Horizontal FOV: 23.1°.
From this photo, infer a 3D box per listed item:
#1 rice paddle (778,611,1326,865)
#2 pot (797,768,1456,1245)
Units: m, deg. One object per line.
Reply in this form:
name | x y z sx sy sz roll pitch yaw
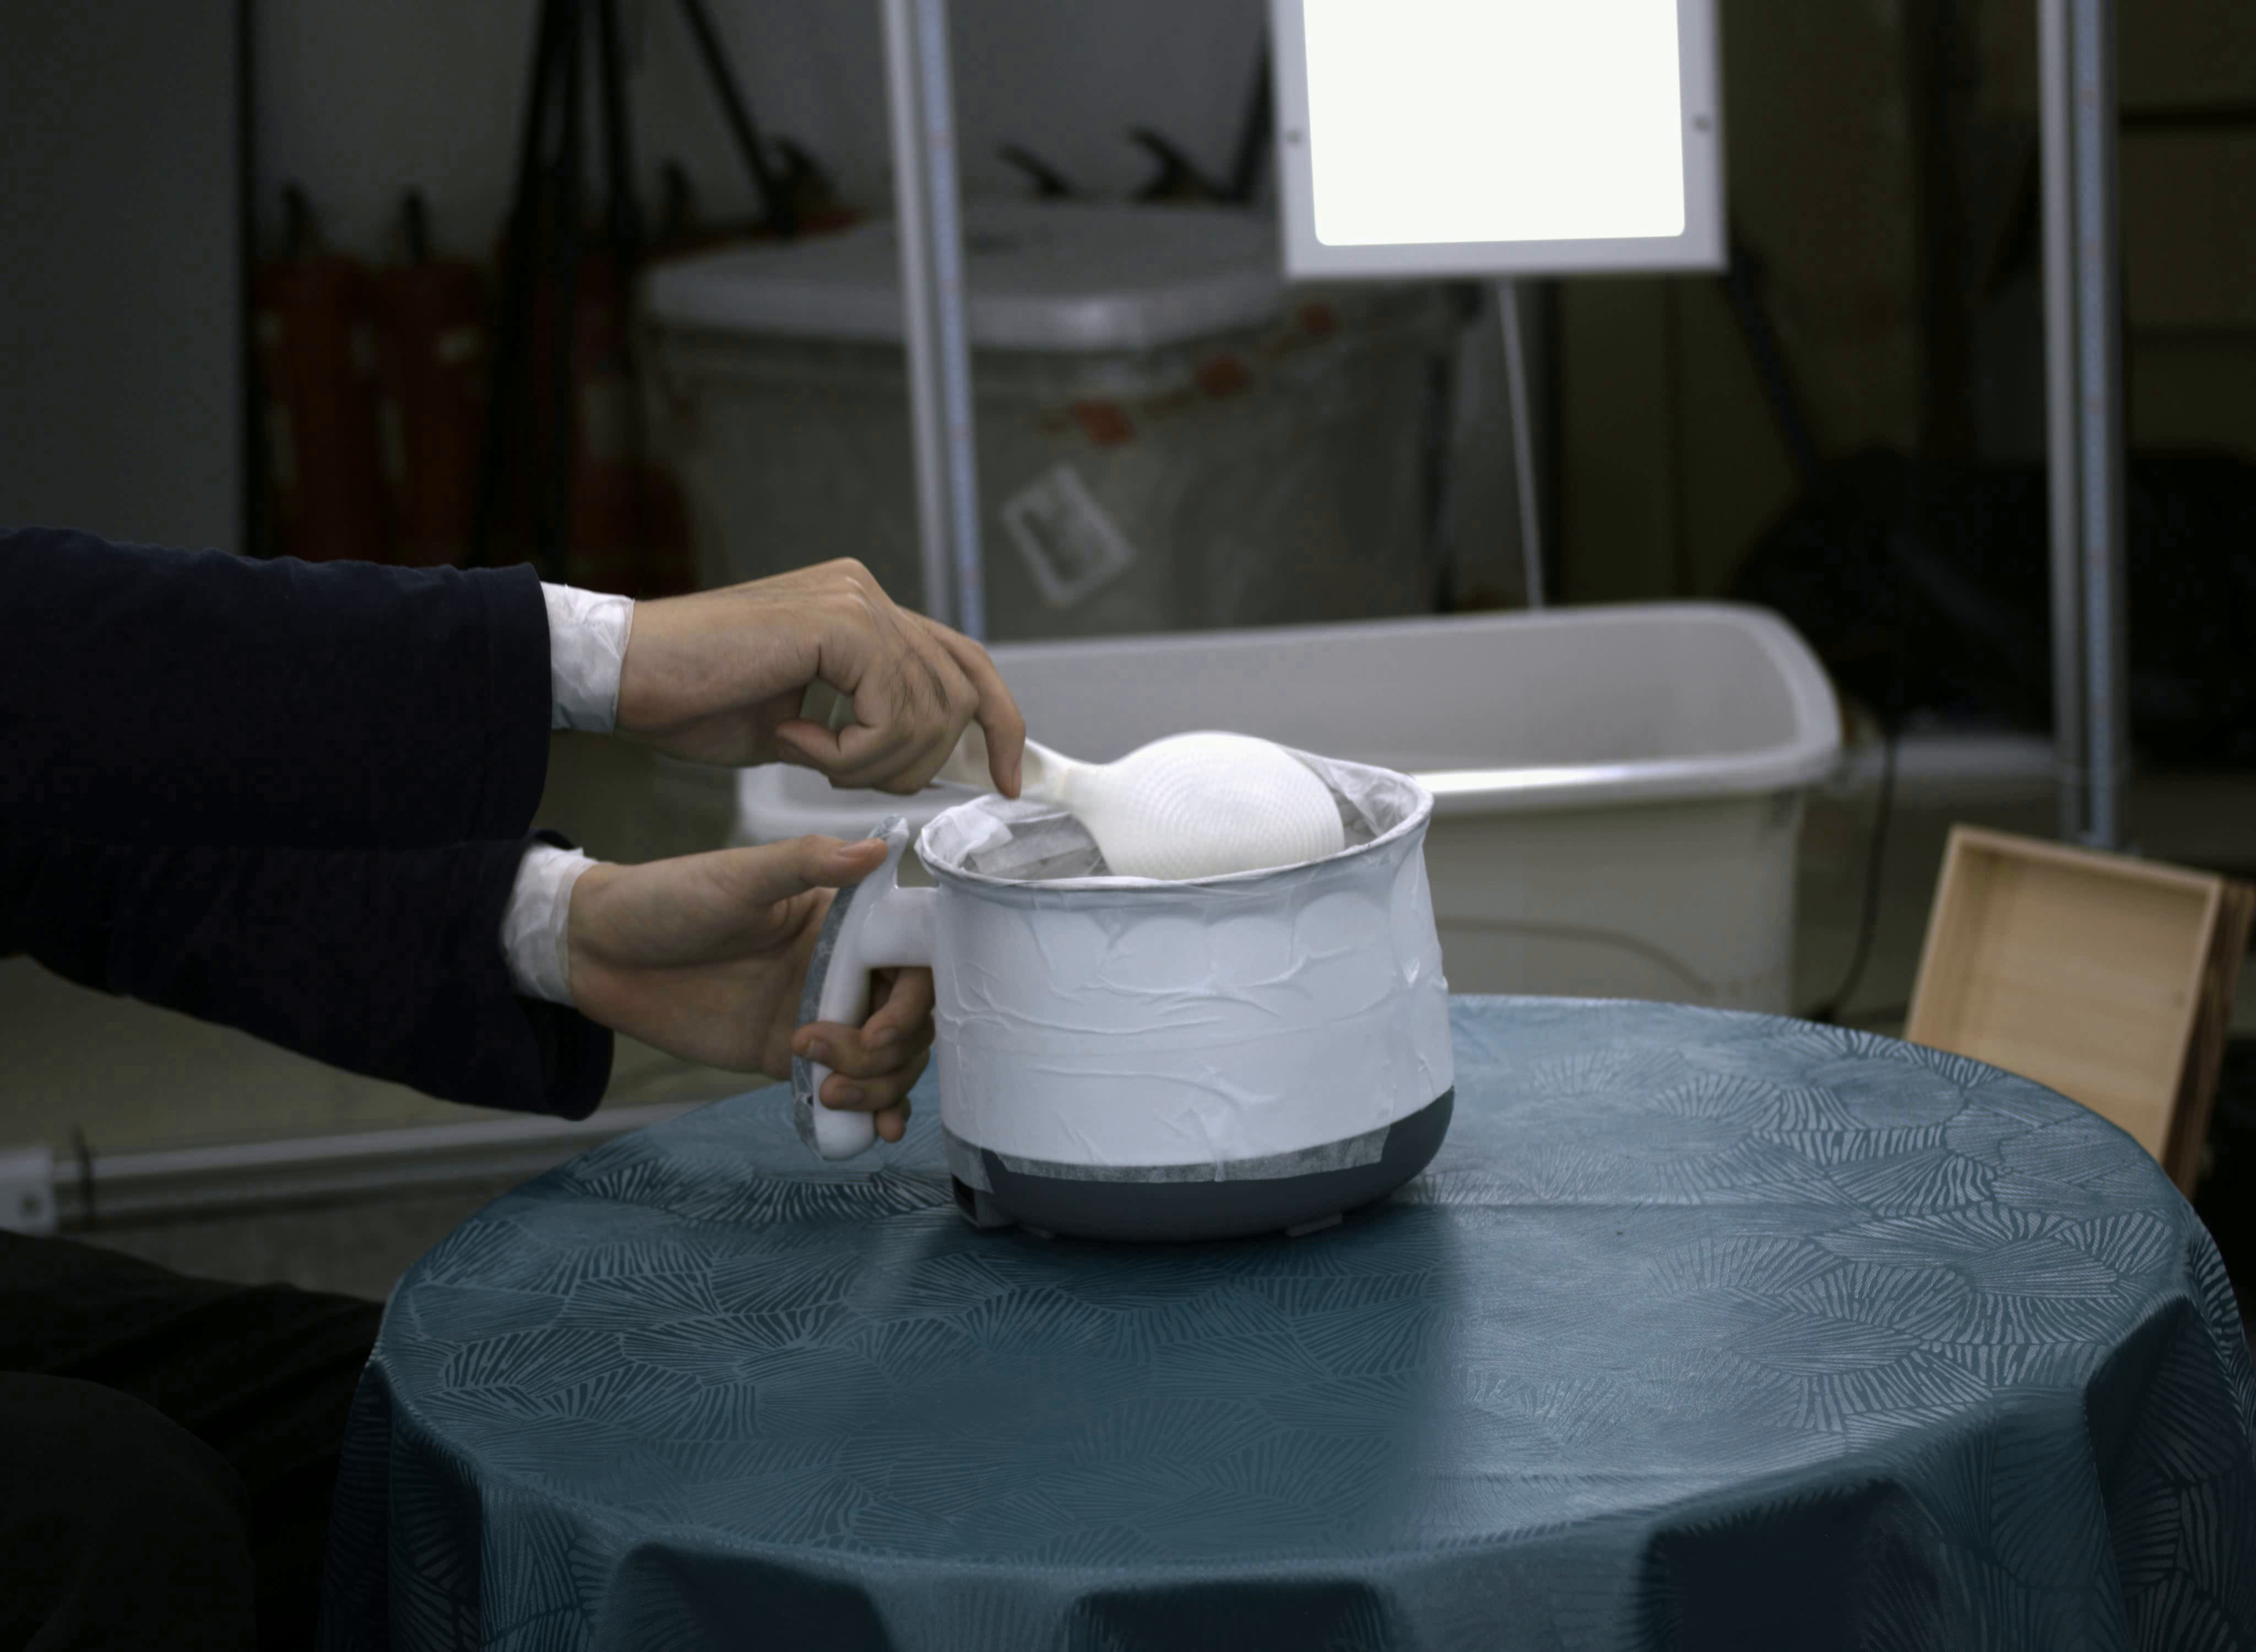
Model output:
rice paddle | -0.021 -0.028 1.815 0.201 0.069 0.030 17 3 -27
pot | -0.005 0.063 1.891 0.236 0.137 0.176 -3 12 15
